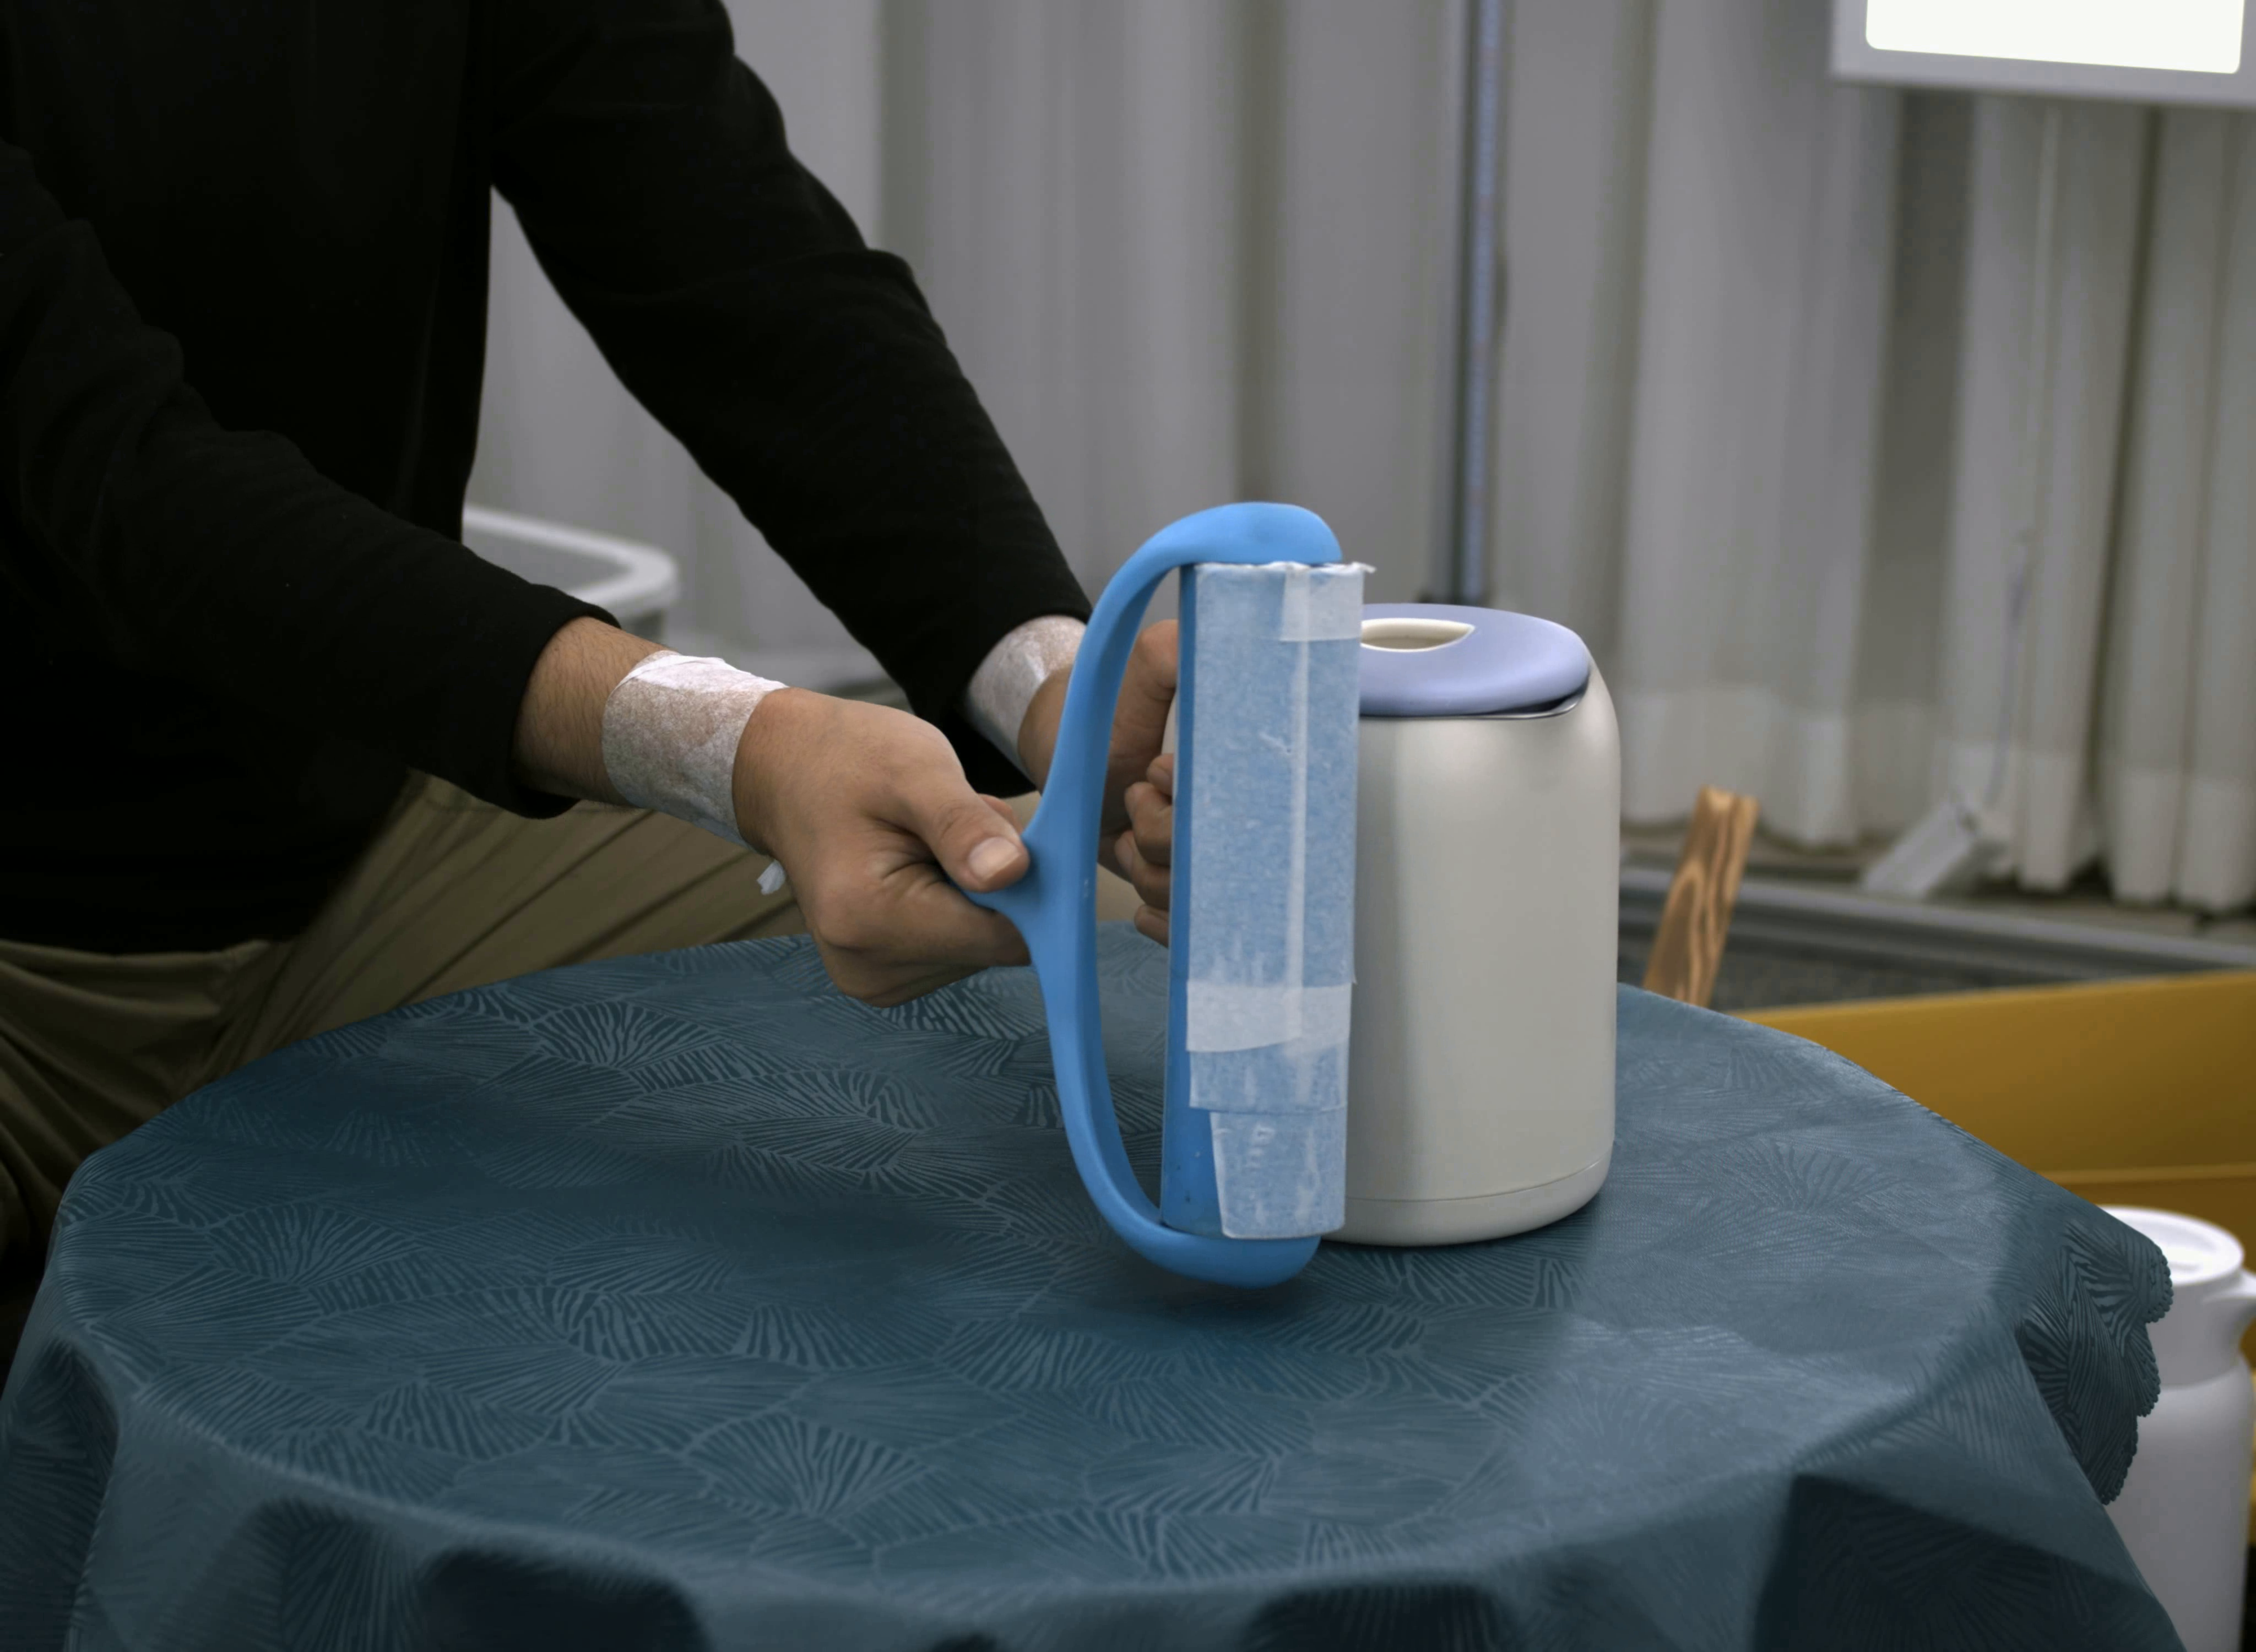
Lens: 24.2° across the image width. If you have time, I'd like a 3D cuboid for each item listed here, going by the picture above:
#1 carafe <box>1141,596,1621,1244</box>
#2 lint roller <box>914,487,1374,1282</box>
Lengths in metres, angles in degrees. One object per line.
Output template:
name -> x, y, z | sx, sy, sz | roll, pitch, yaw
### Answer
carafe -> 0.069, 0.023, 1.622 | 0.133, 0.184, 0.188 | -12, 17, -37
lint roller -> -0.008, 0.016, 1.548 | 0.178, 0.230, 0.068 | 3, 7, 35
